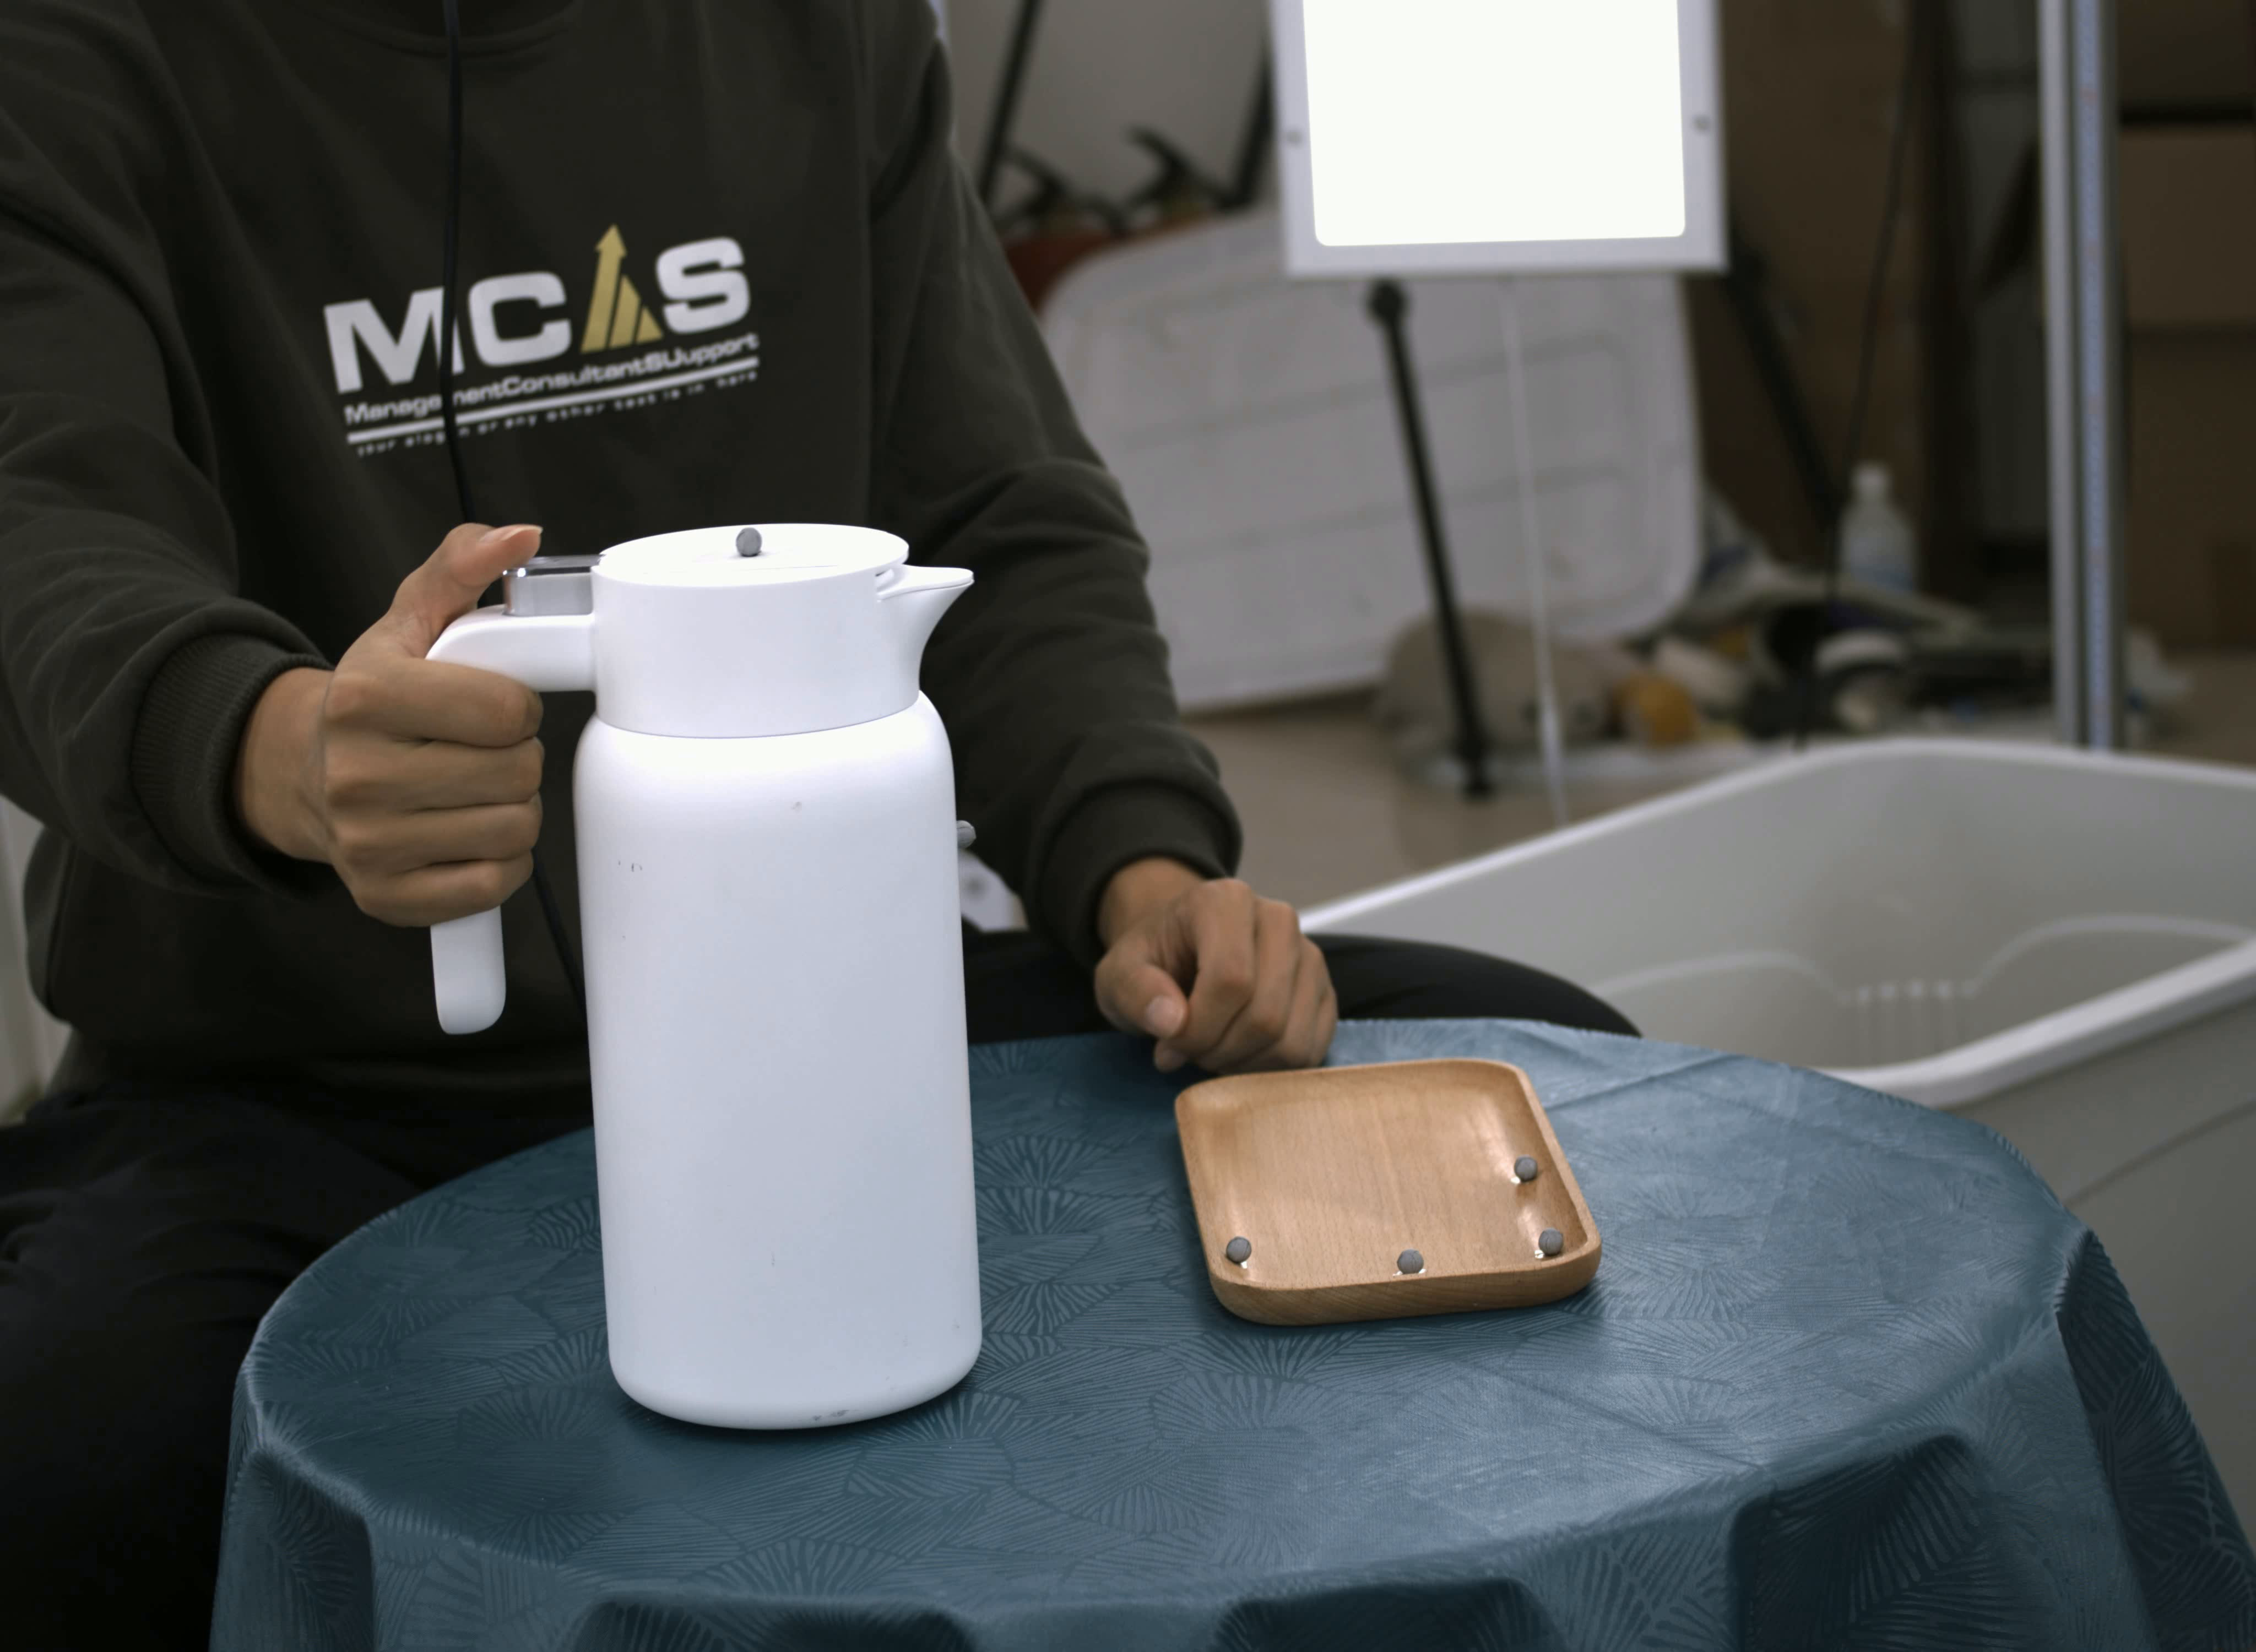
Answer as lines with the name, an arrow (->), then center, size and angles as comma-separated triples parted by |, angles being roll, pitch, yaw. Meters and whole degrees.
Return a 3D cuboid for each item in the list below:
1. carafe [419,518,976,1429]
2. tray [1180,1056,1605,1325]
carafe -> -0.128, 0.045, 1.701 | 0.173, 0.270, 0.123 | -1, 15, 4
tray -> 0.086, 0.121, 1.859 | 0.130, 0.023, 0.250 | -3, 12, 0
